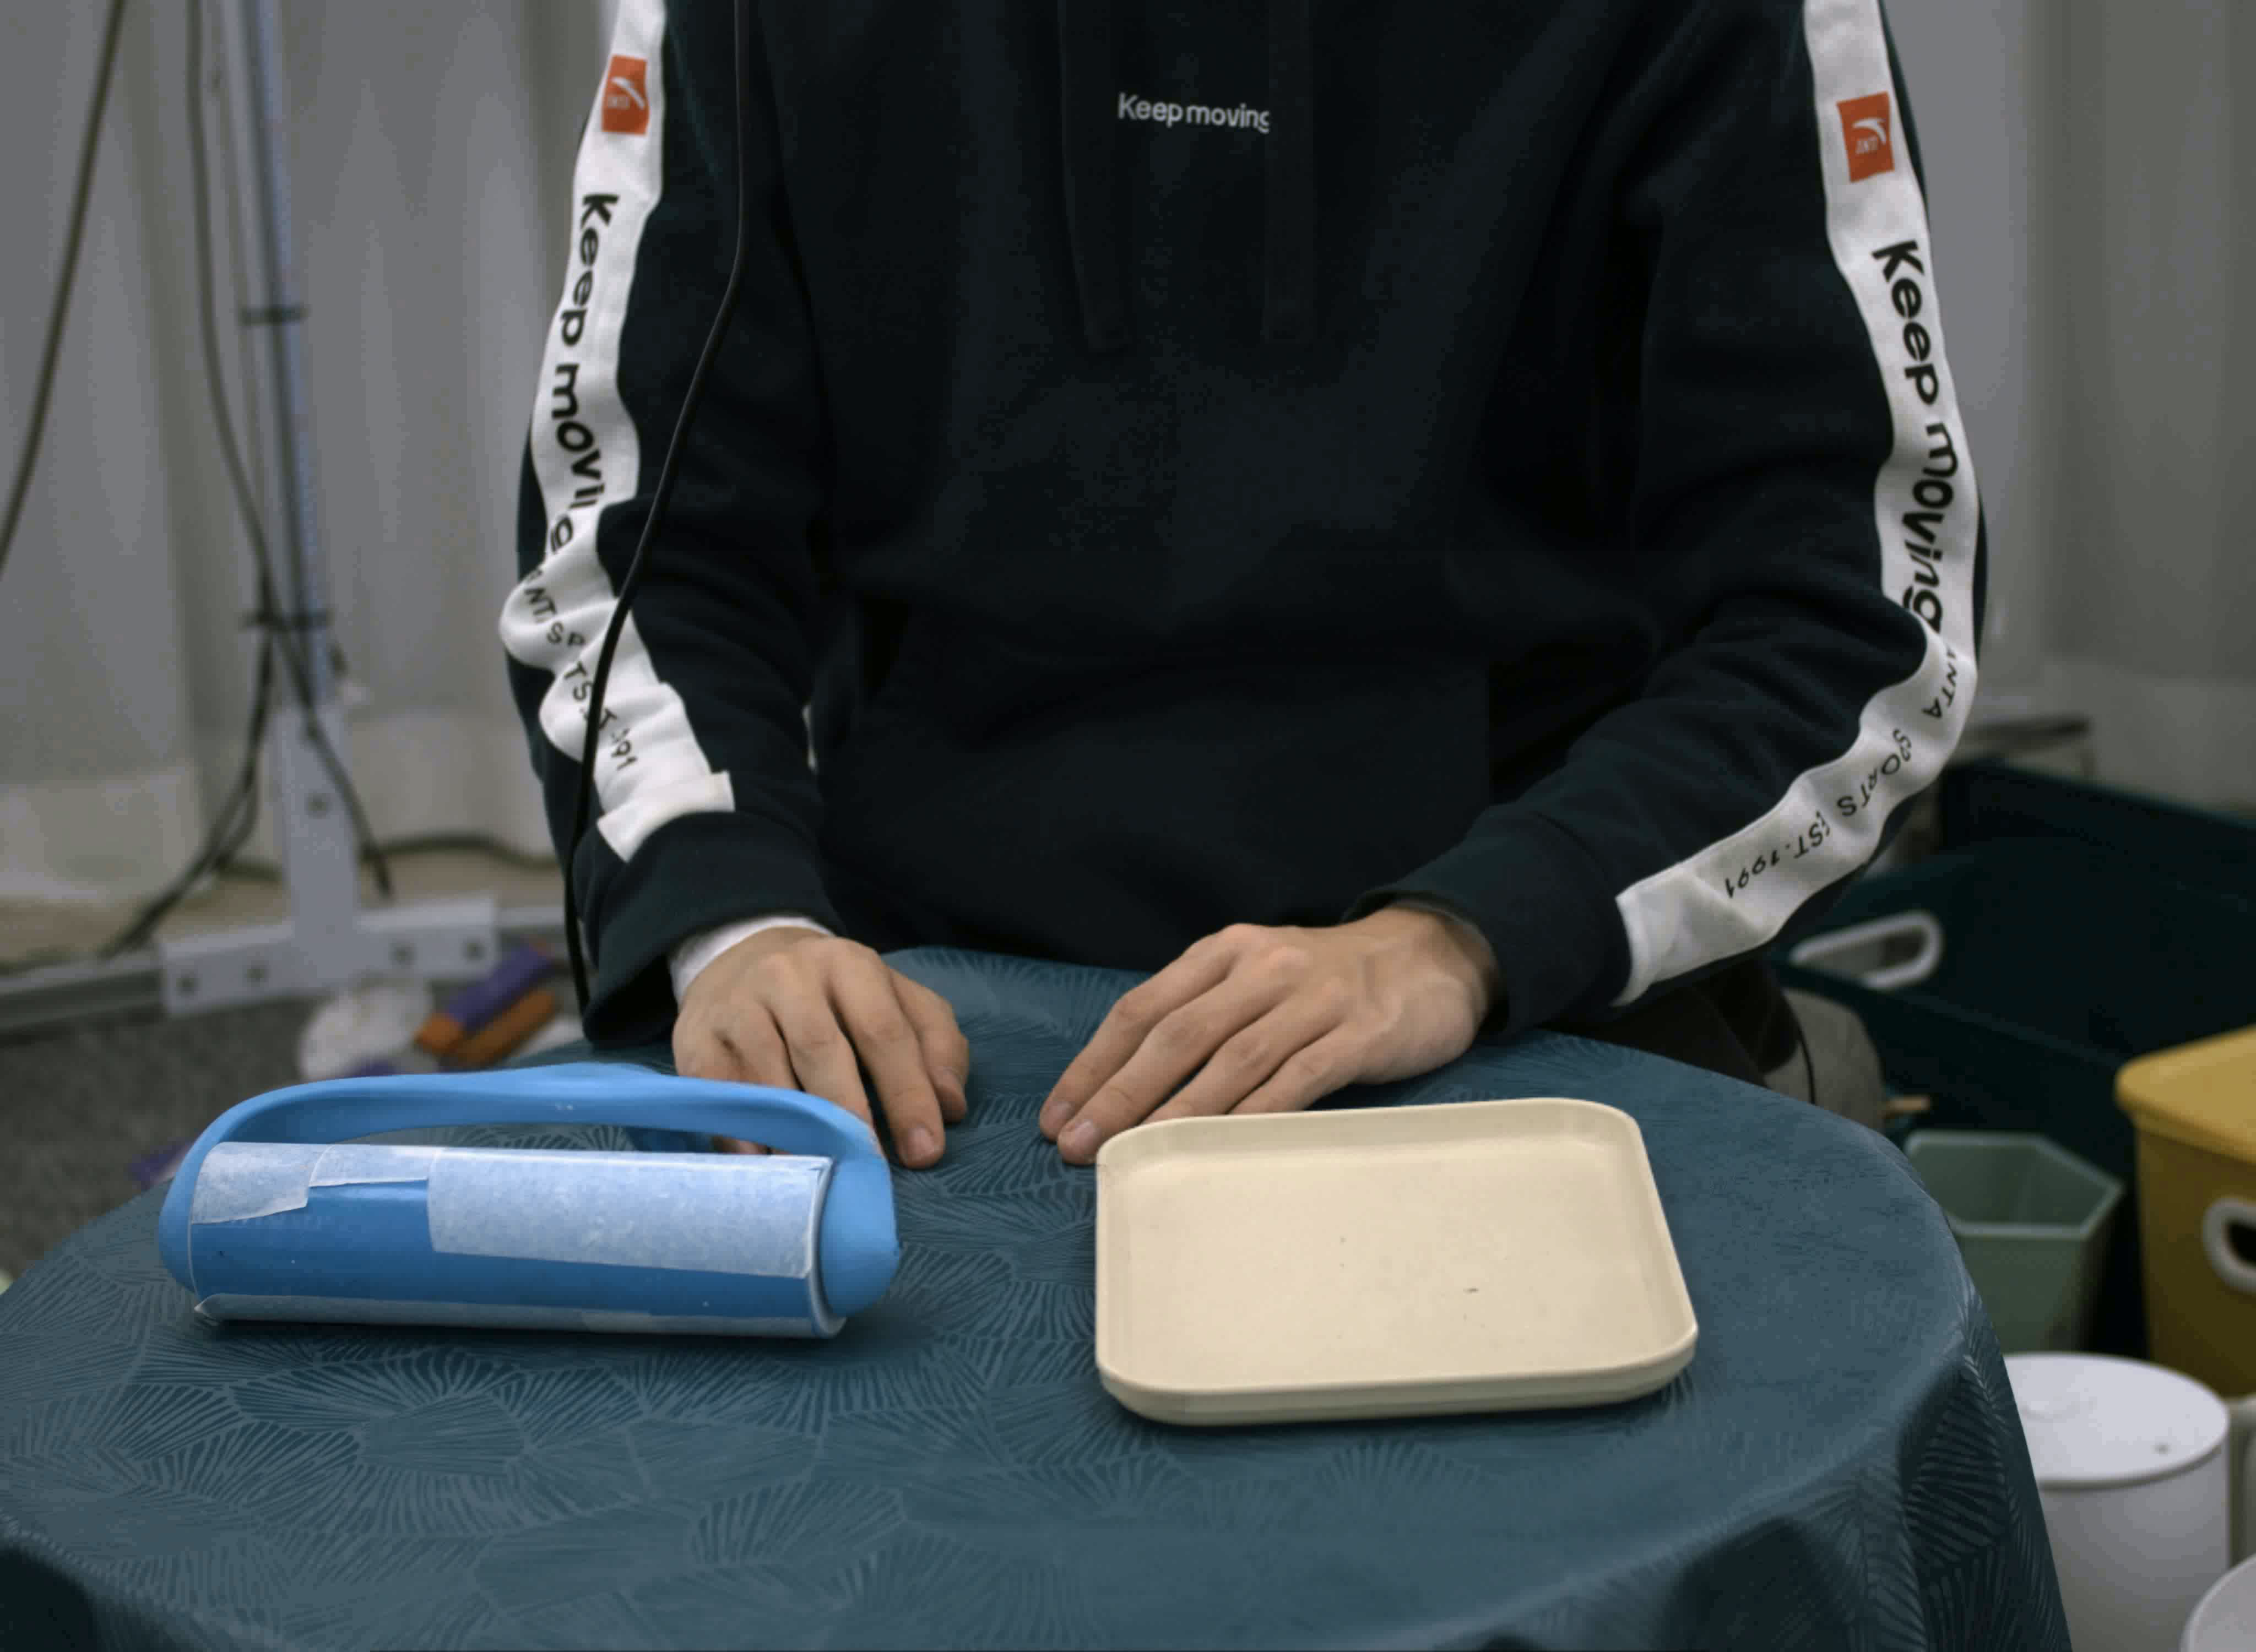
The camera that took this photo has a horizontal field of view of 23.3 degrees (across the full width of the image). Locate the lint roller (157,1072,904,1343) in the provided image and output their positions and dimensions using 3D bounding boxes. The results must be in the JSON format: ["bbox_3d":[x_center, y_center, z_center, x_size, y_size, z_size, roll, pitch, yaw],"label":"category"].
[{"bbox_3d":[-0.168,0.106,1.672,0.228,0.067,0.181,-2,16,11],"label":"lint roller"}]

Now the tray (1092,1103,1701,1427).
[{"bbox_3d":[0.075,0.129,1.613,0.171,0.017,0.241,-2,15,1],"label":"tray"}]
